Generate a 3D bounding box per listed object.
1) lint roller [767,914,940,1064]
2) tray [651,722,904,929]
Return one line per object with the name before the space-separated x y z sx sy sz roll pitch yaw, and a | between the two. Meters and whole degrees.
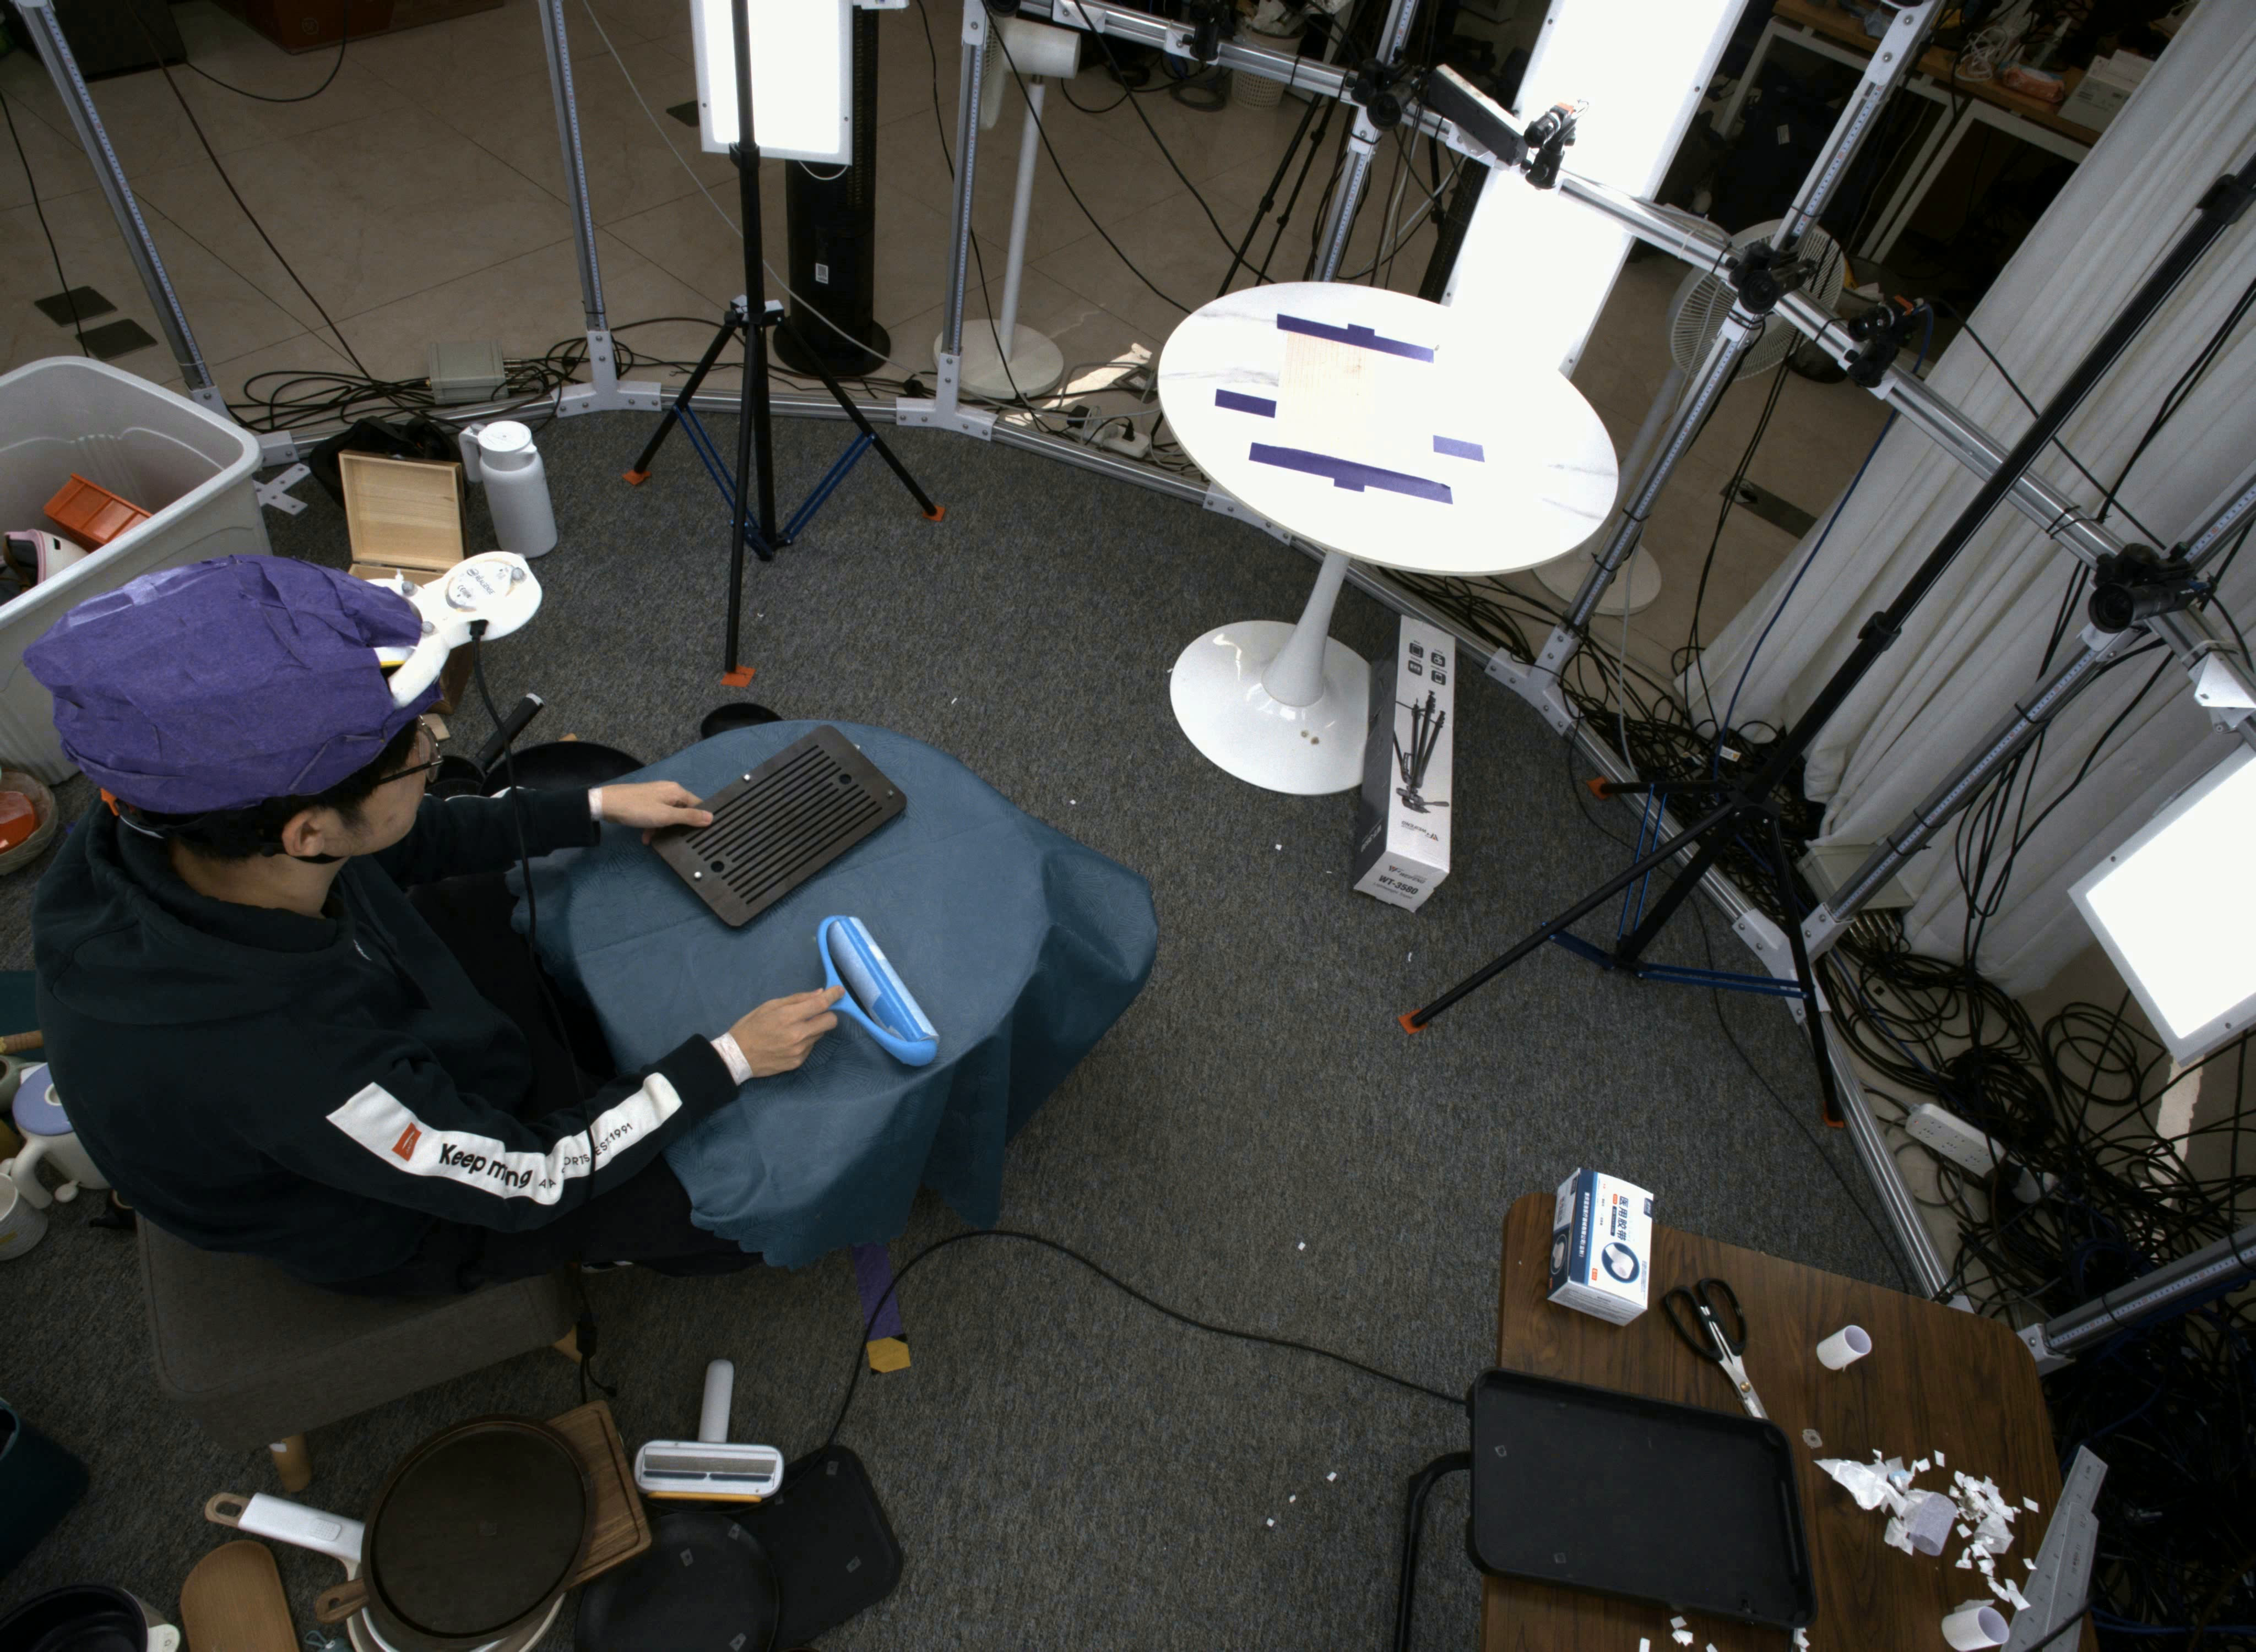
lint roller | -0.347 0.216 1.551 0.181 0.069 0.224 -28 67 -32
tray | -0.456 -0.007 1.701 0.168 0.019 0.306 44 55 8
